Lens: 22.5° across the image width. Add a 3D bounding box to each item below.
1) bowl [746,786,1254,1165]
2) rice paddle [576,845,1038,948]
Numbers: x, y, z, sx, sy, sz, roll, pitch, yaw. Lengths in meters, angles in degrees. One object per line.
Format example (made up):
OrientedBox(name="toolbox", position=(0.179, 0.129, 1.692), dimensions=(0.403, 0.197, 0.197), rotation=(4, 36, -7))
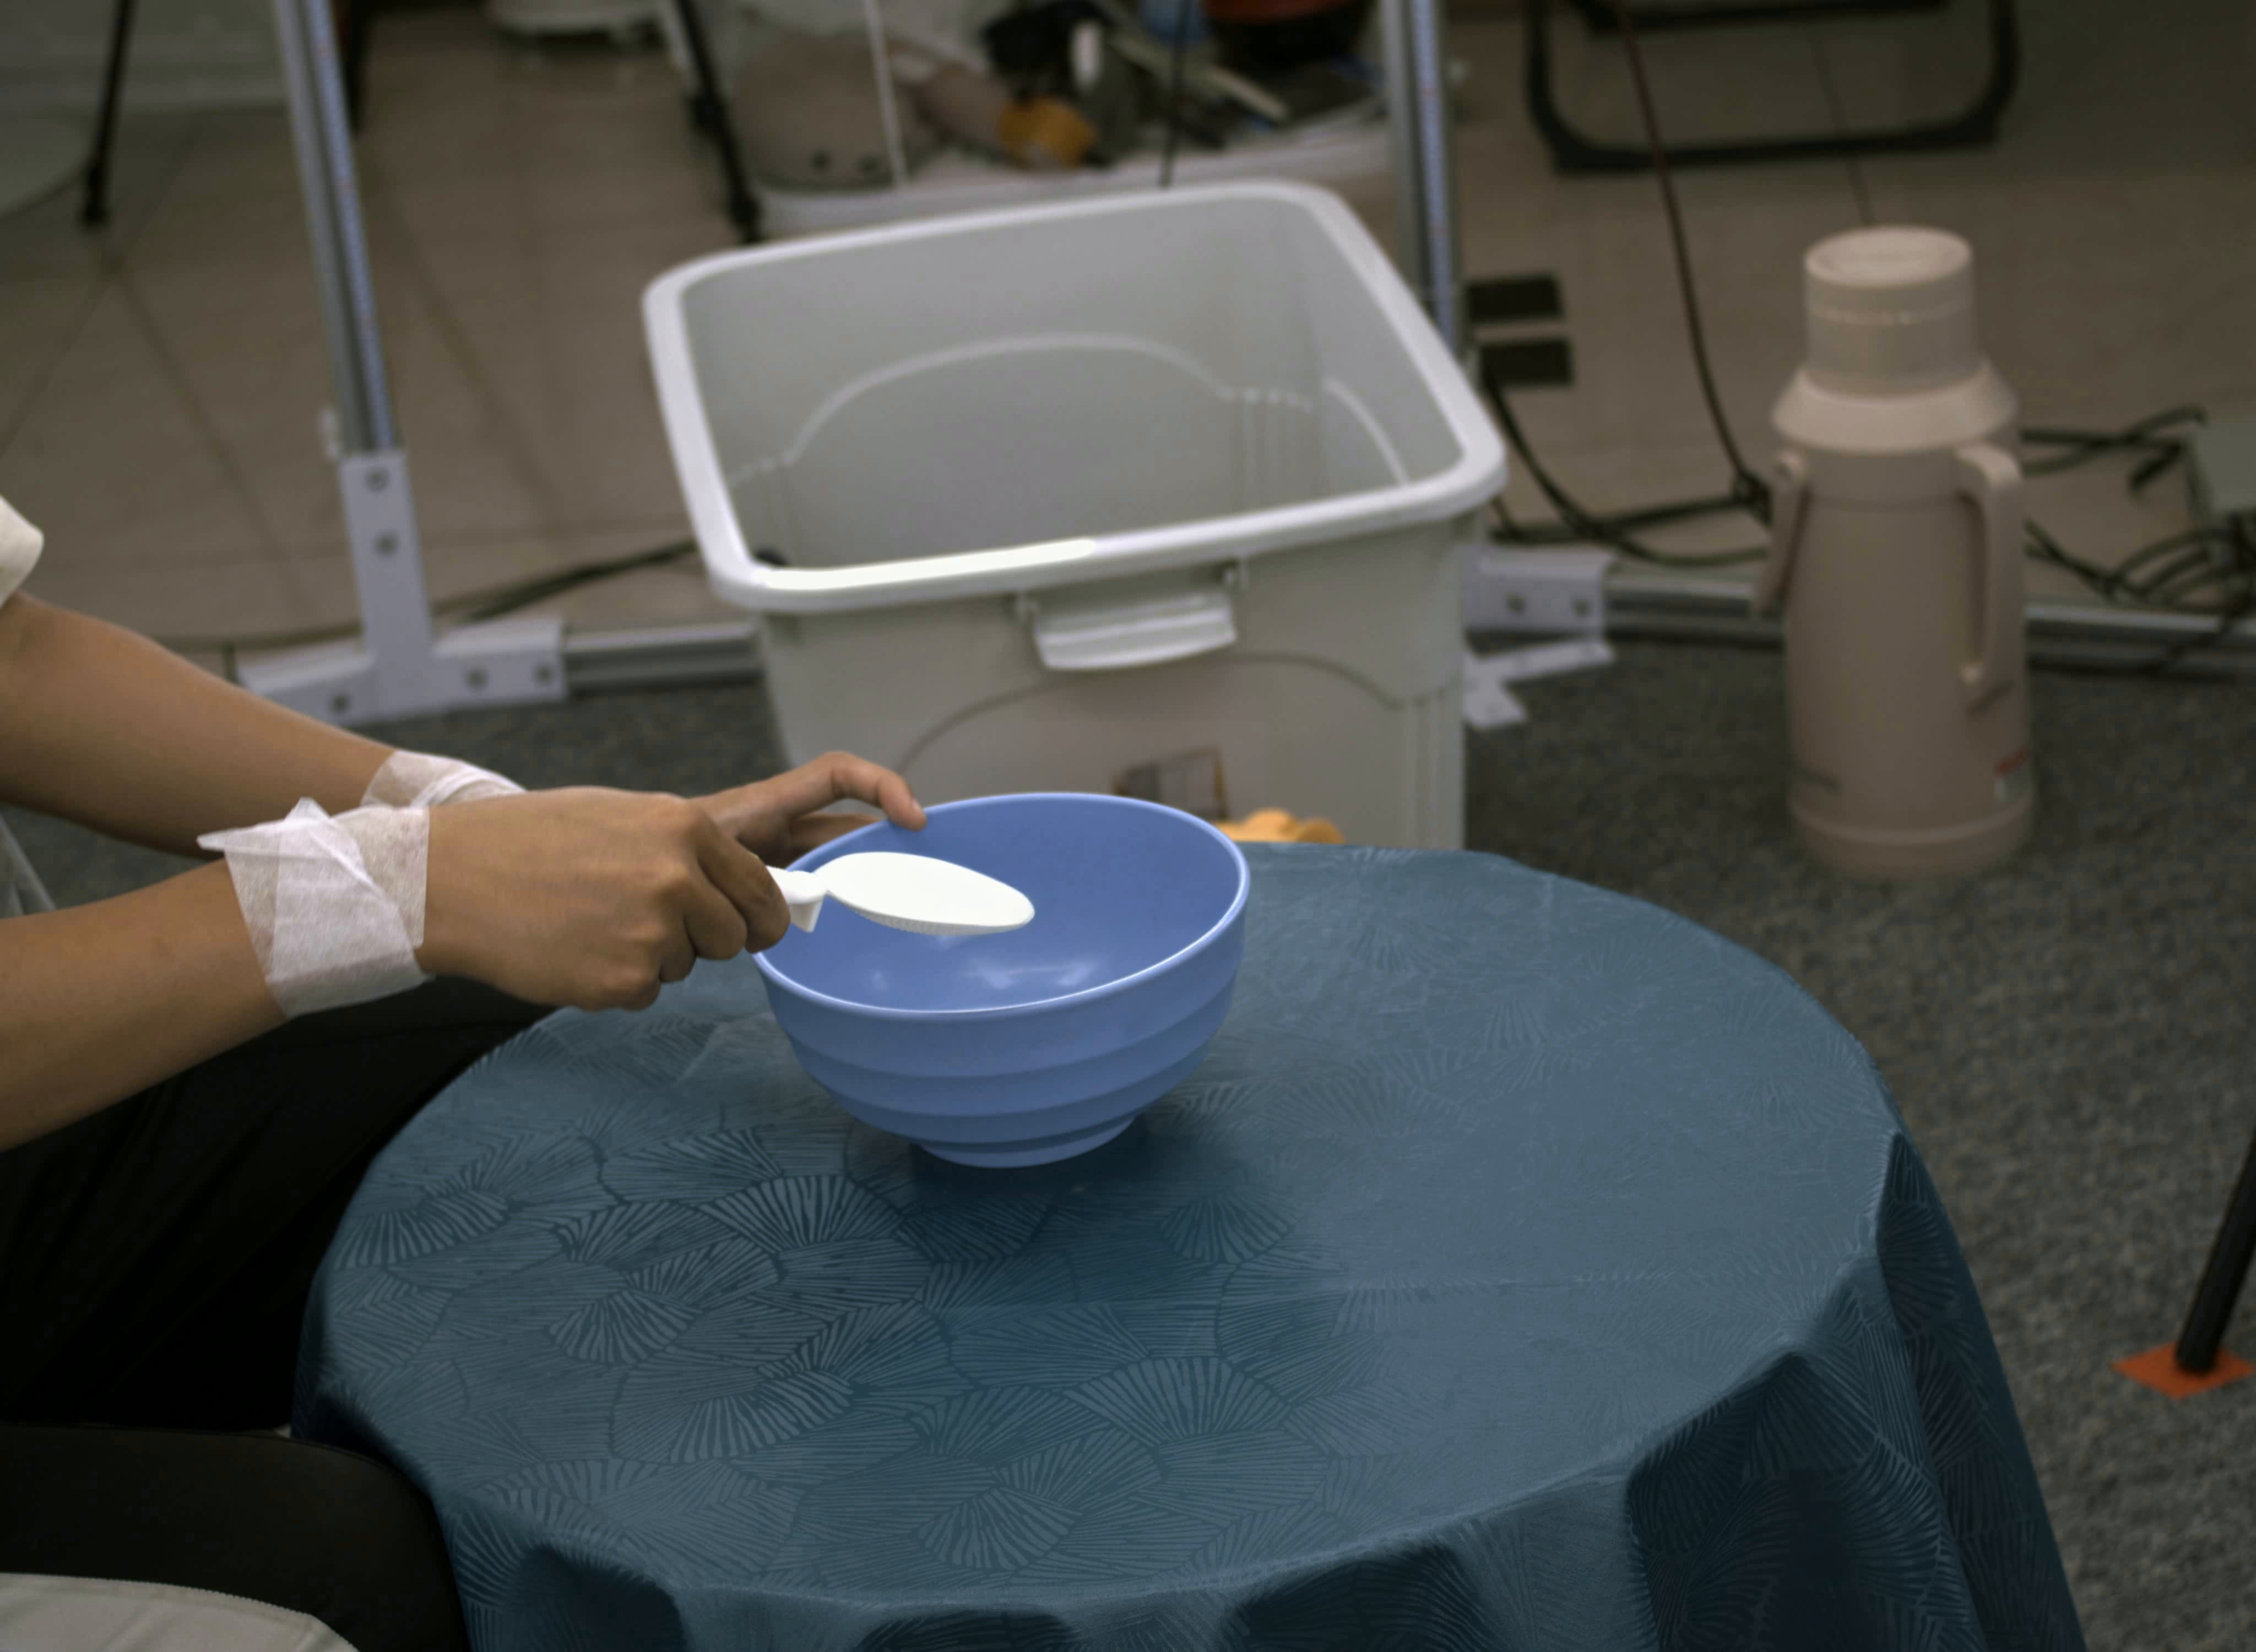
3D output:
OrientedBox(name="bowl", position=(-0.046, 0.068, 2.198), dimensions=(0.196, 0.097, 0.193), rotation=(-4, 26, 2))
OrientedBox(name="rice paddle", position=(-0.110, 0.023, 2.026), dimensions=(0.205, 0.030, 0.068), rotation=(-2, 26, -46))
